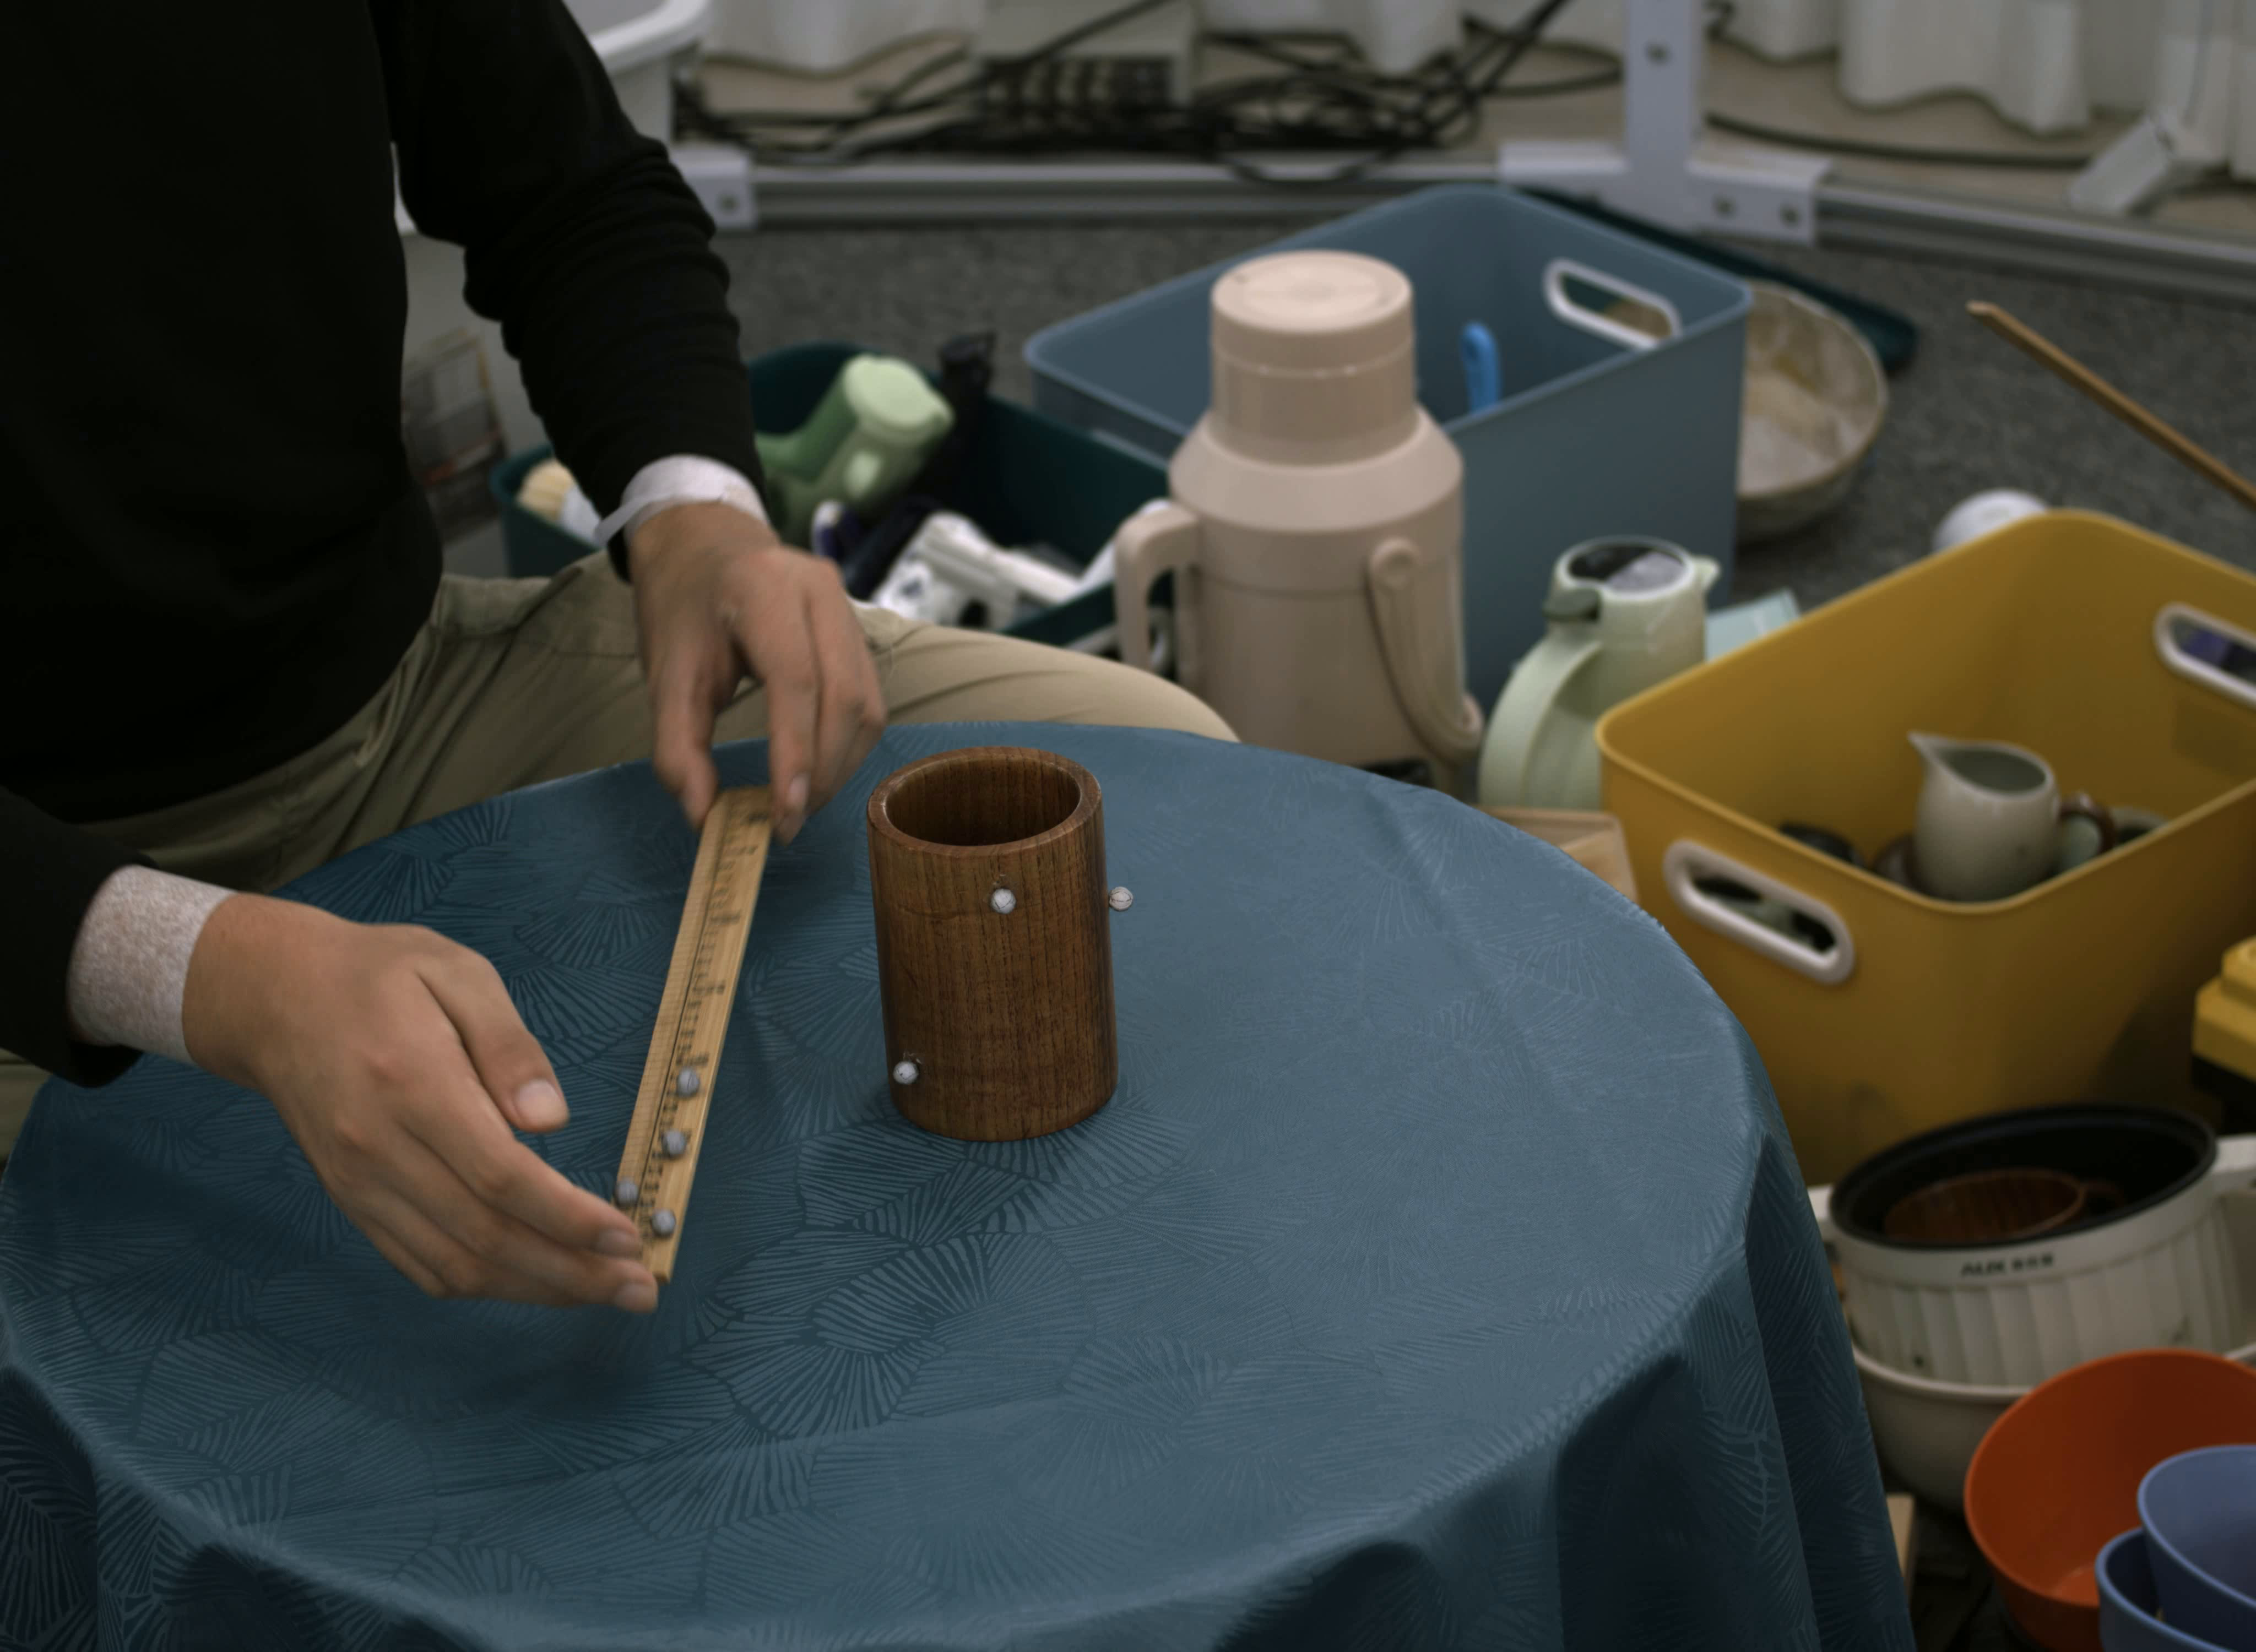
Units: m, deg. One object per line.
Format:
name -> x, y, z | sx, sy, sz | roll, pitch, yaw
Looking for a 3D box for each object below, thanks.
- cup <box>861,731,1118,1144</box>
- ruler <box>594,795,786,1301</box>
cup -> -0.045, 0.038, 1.902 | 0.087, 0.117, 0.089 | -2, 26, 1
ruler -> -0.147, 0.067, 1.896 | 0.027, 0.022, 0.337 | -2, 27, 5
